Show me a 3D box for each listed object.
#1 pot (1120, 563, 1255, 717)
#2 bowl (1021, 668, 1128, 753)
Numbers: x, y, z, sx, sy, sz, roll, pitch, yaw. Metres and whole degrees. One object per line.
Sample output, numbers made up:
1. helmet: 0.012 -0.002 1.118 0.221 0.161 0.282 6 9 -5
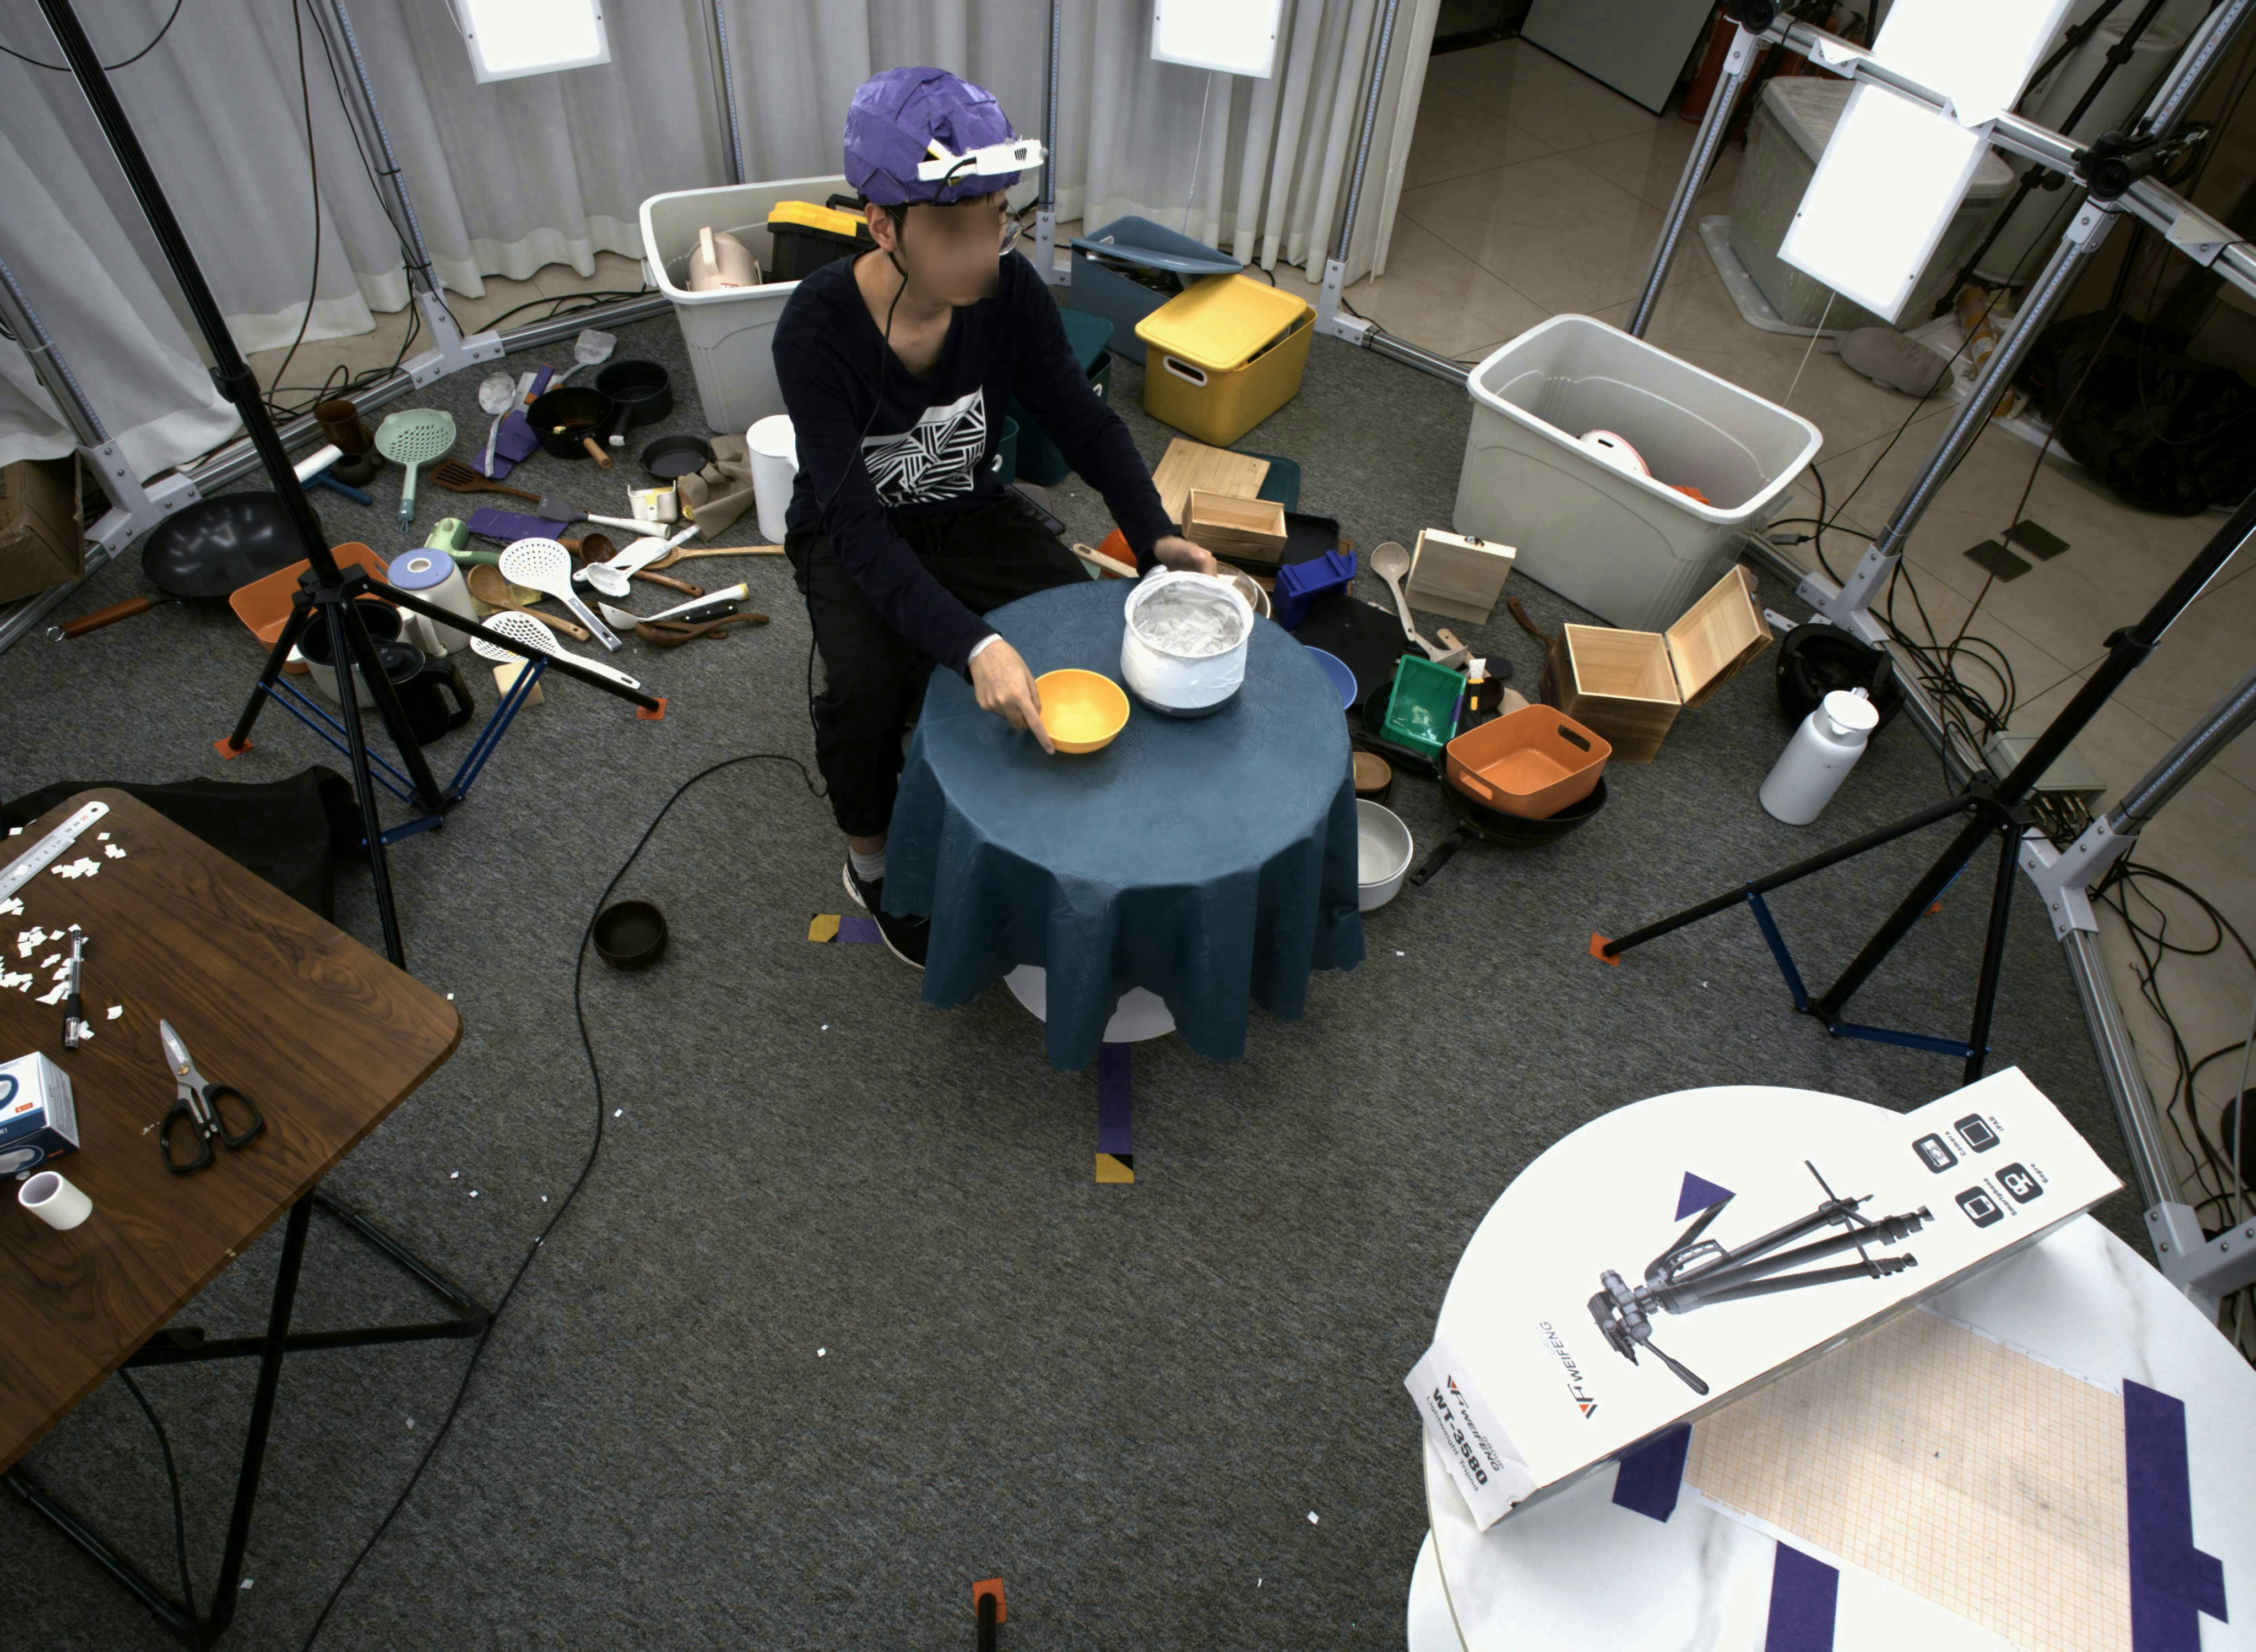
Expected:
1. pot: 0.069 -0.272 1.819 0.179 0.133 0.239 -14 53 -19
2. bowl: -0.074 -0.146 1.748 0.145 0.058 0.149 3 48 -4
